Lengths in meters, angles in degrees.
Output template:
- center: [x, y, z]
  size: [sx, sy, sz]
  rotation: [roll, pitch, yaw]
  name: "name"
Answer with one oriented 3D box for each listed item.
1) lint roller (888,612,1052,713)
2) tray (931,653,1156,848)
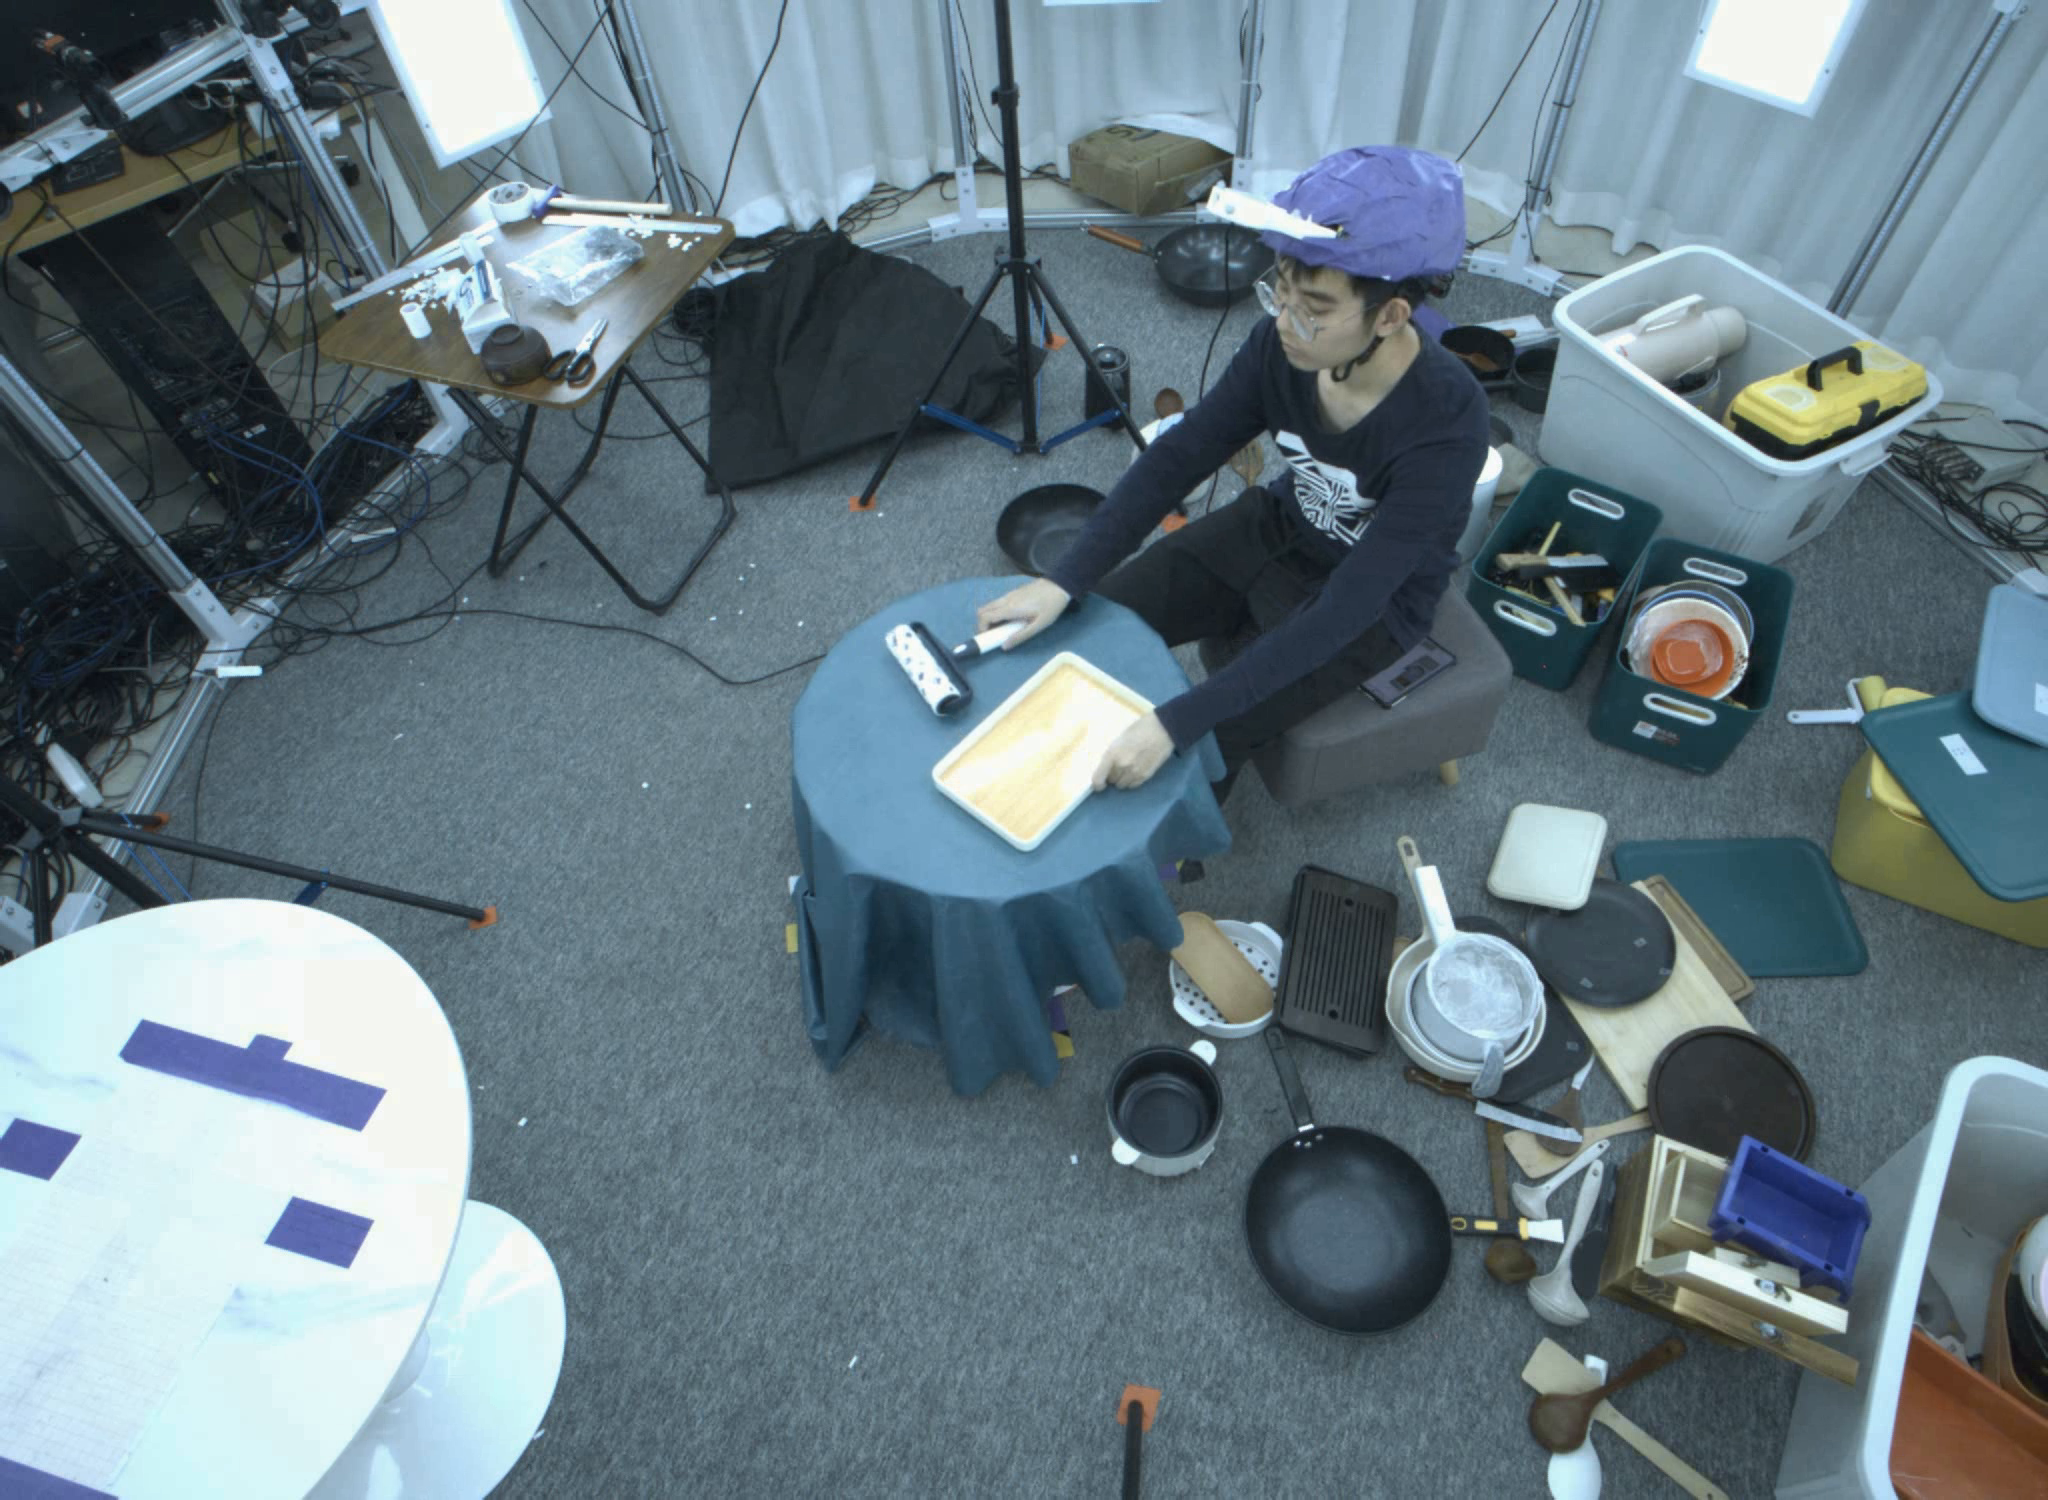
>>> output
- center: [-0.066, -0.167, 1.889]
  size: [0.249, 0.051, 0.173]
  rotation: [-26, 57, -19]
  name: "lint roller"
- center: [0.030, -0.006, 1.776]
  size: [0.188, 0.028, 0.302]
  rotation: [35, 63, 25]
  name: "tray"
